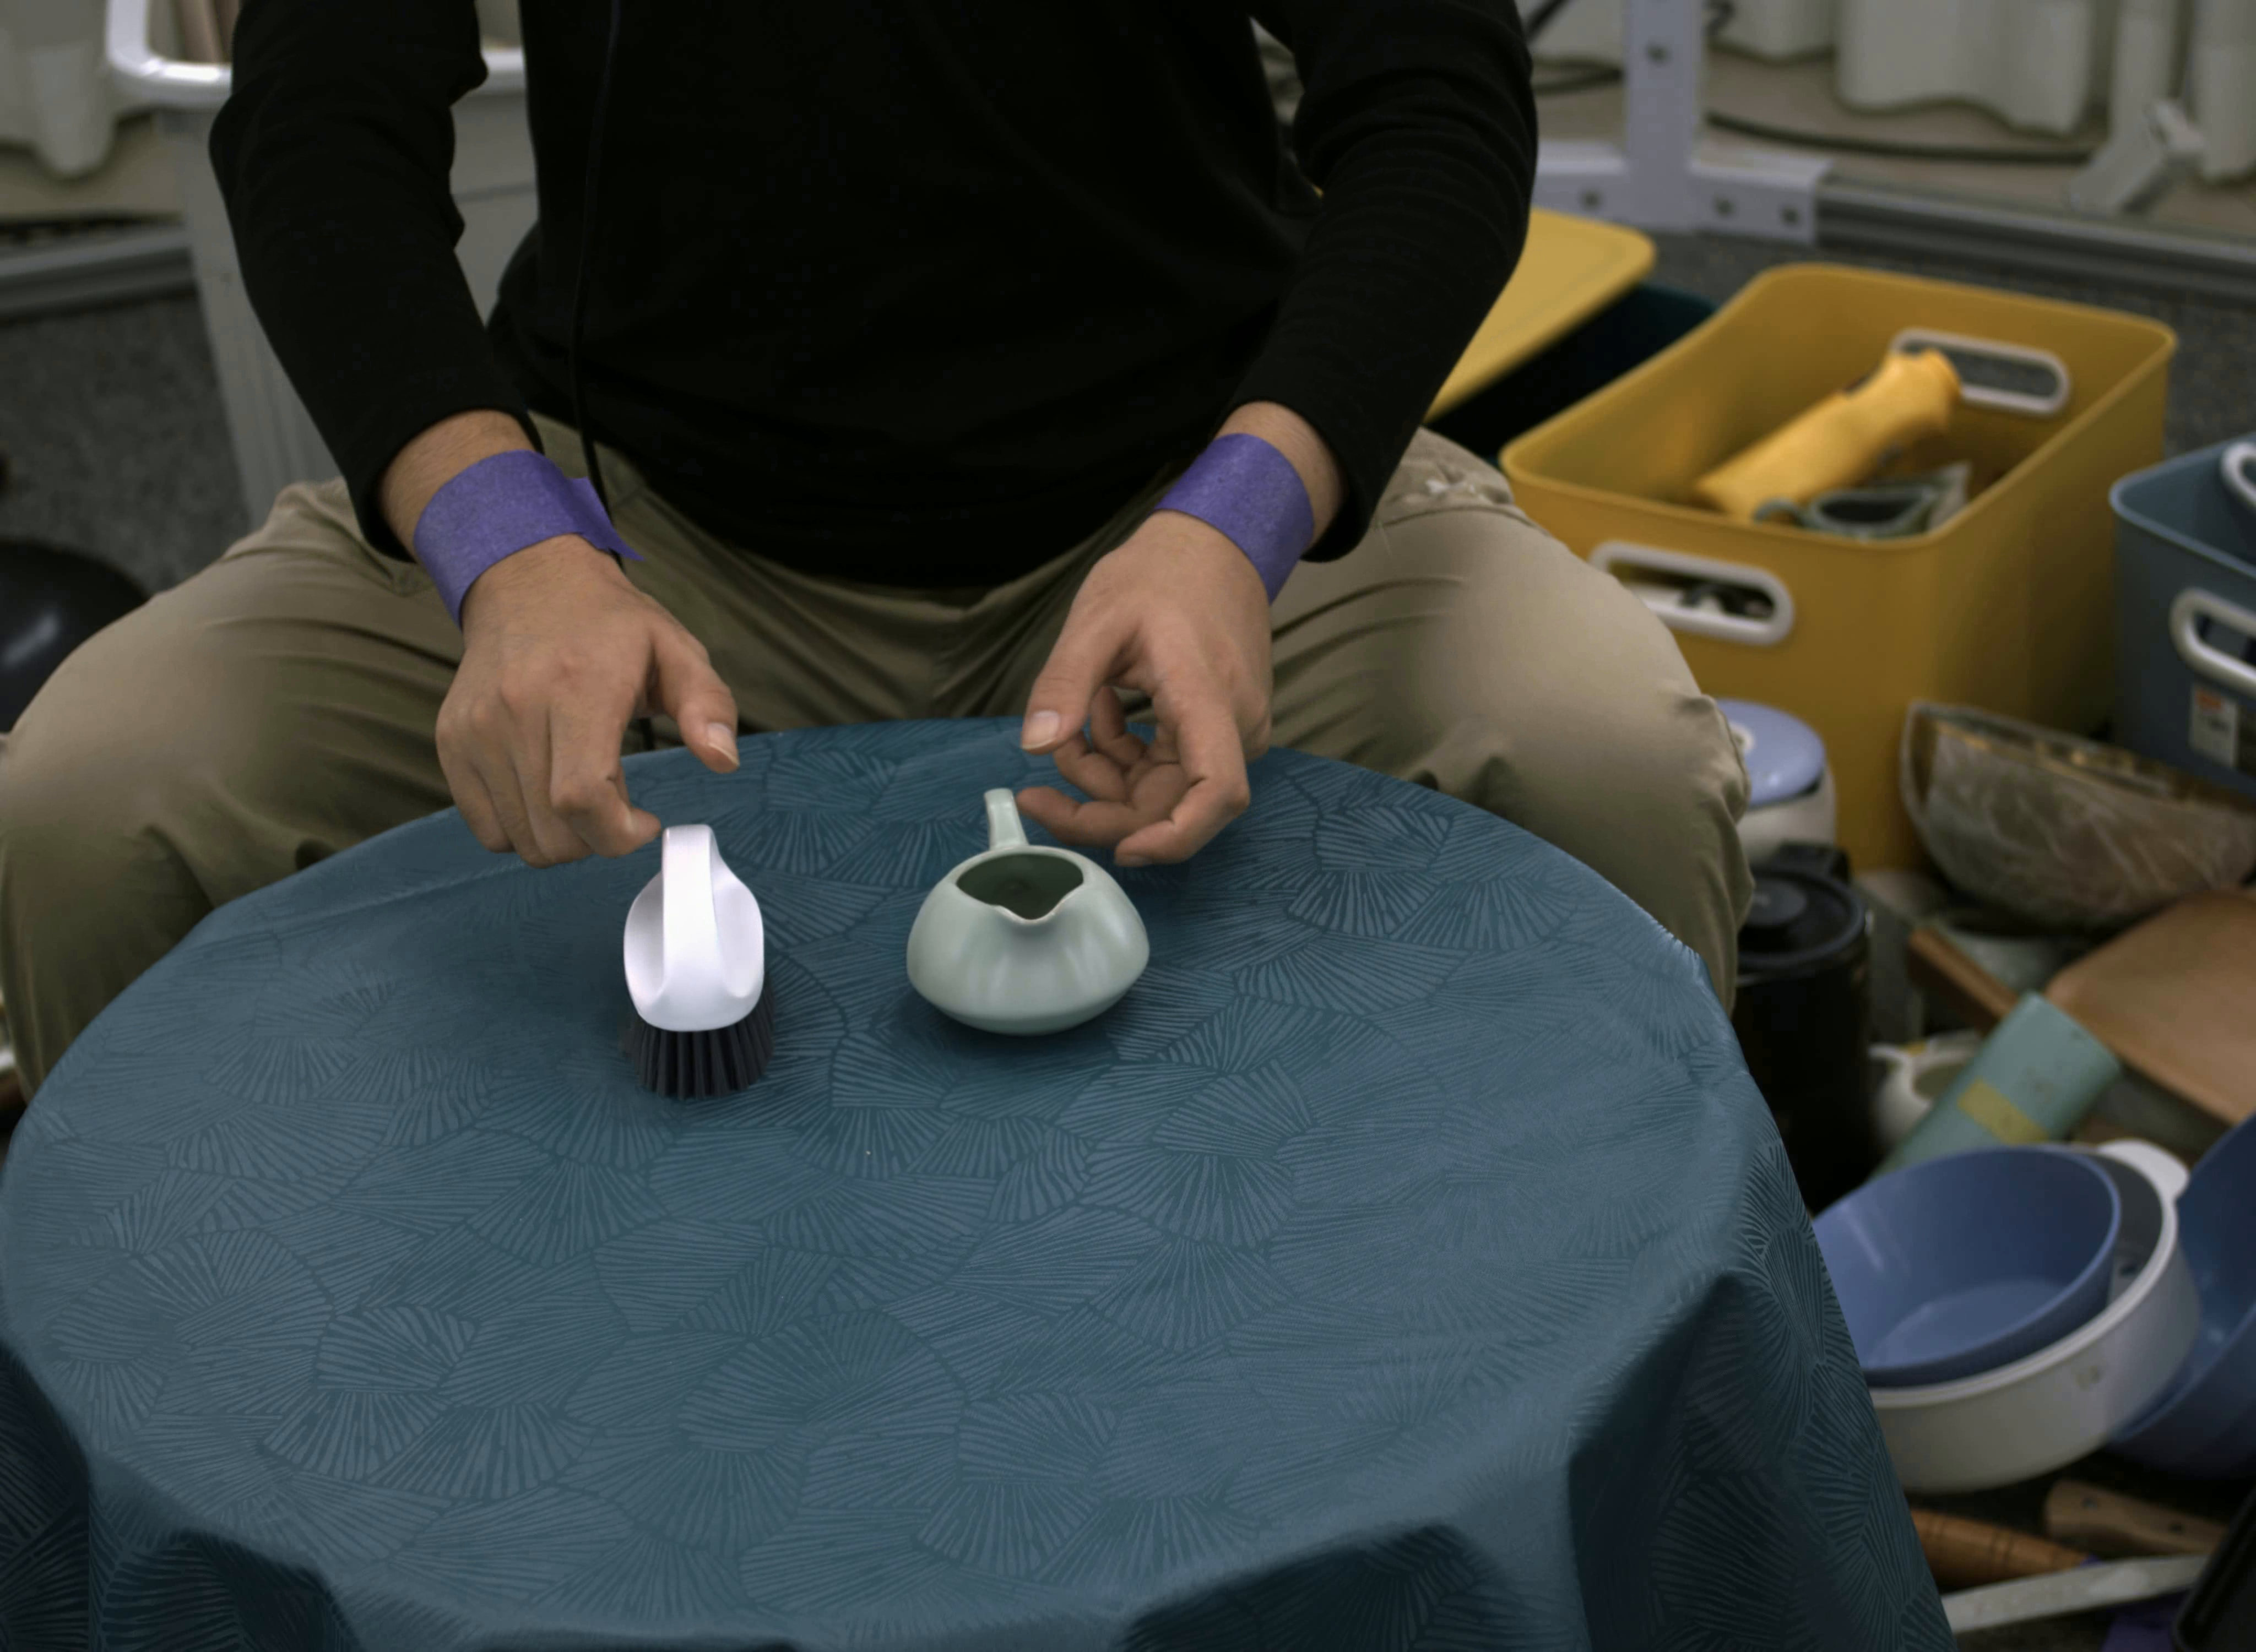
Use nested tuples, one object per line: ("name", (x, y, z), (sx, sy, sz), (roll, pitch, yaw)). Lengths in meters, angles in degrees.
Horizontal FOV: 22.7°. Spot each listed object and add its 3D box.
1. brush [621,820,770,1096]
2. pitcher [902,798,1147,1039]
("brush", (-0.152, 0.039, 1.955), (0.050, 0.072, 0.101), (-3, 28, 0))
("pitcher", (-0.039, 0.034, 1.976), (0.086, 0.060, 0.109), (-7, 24, -9))
